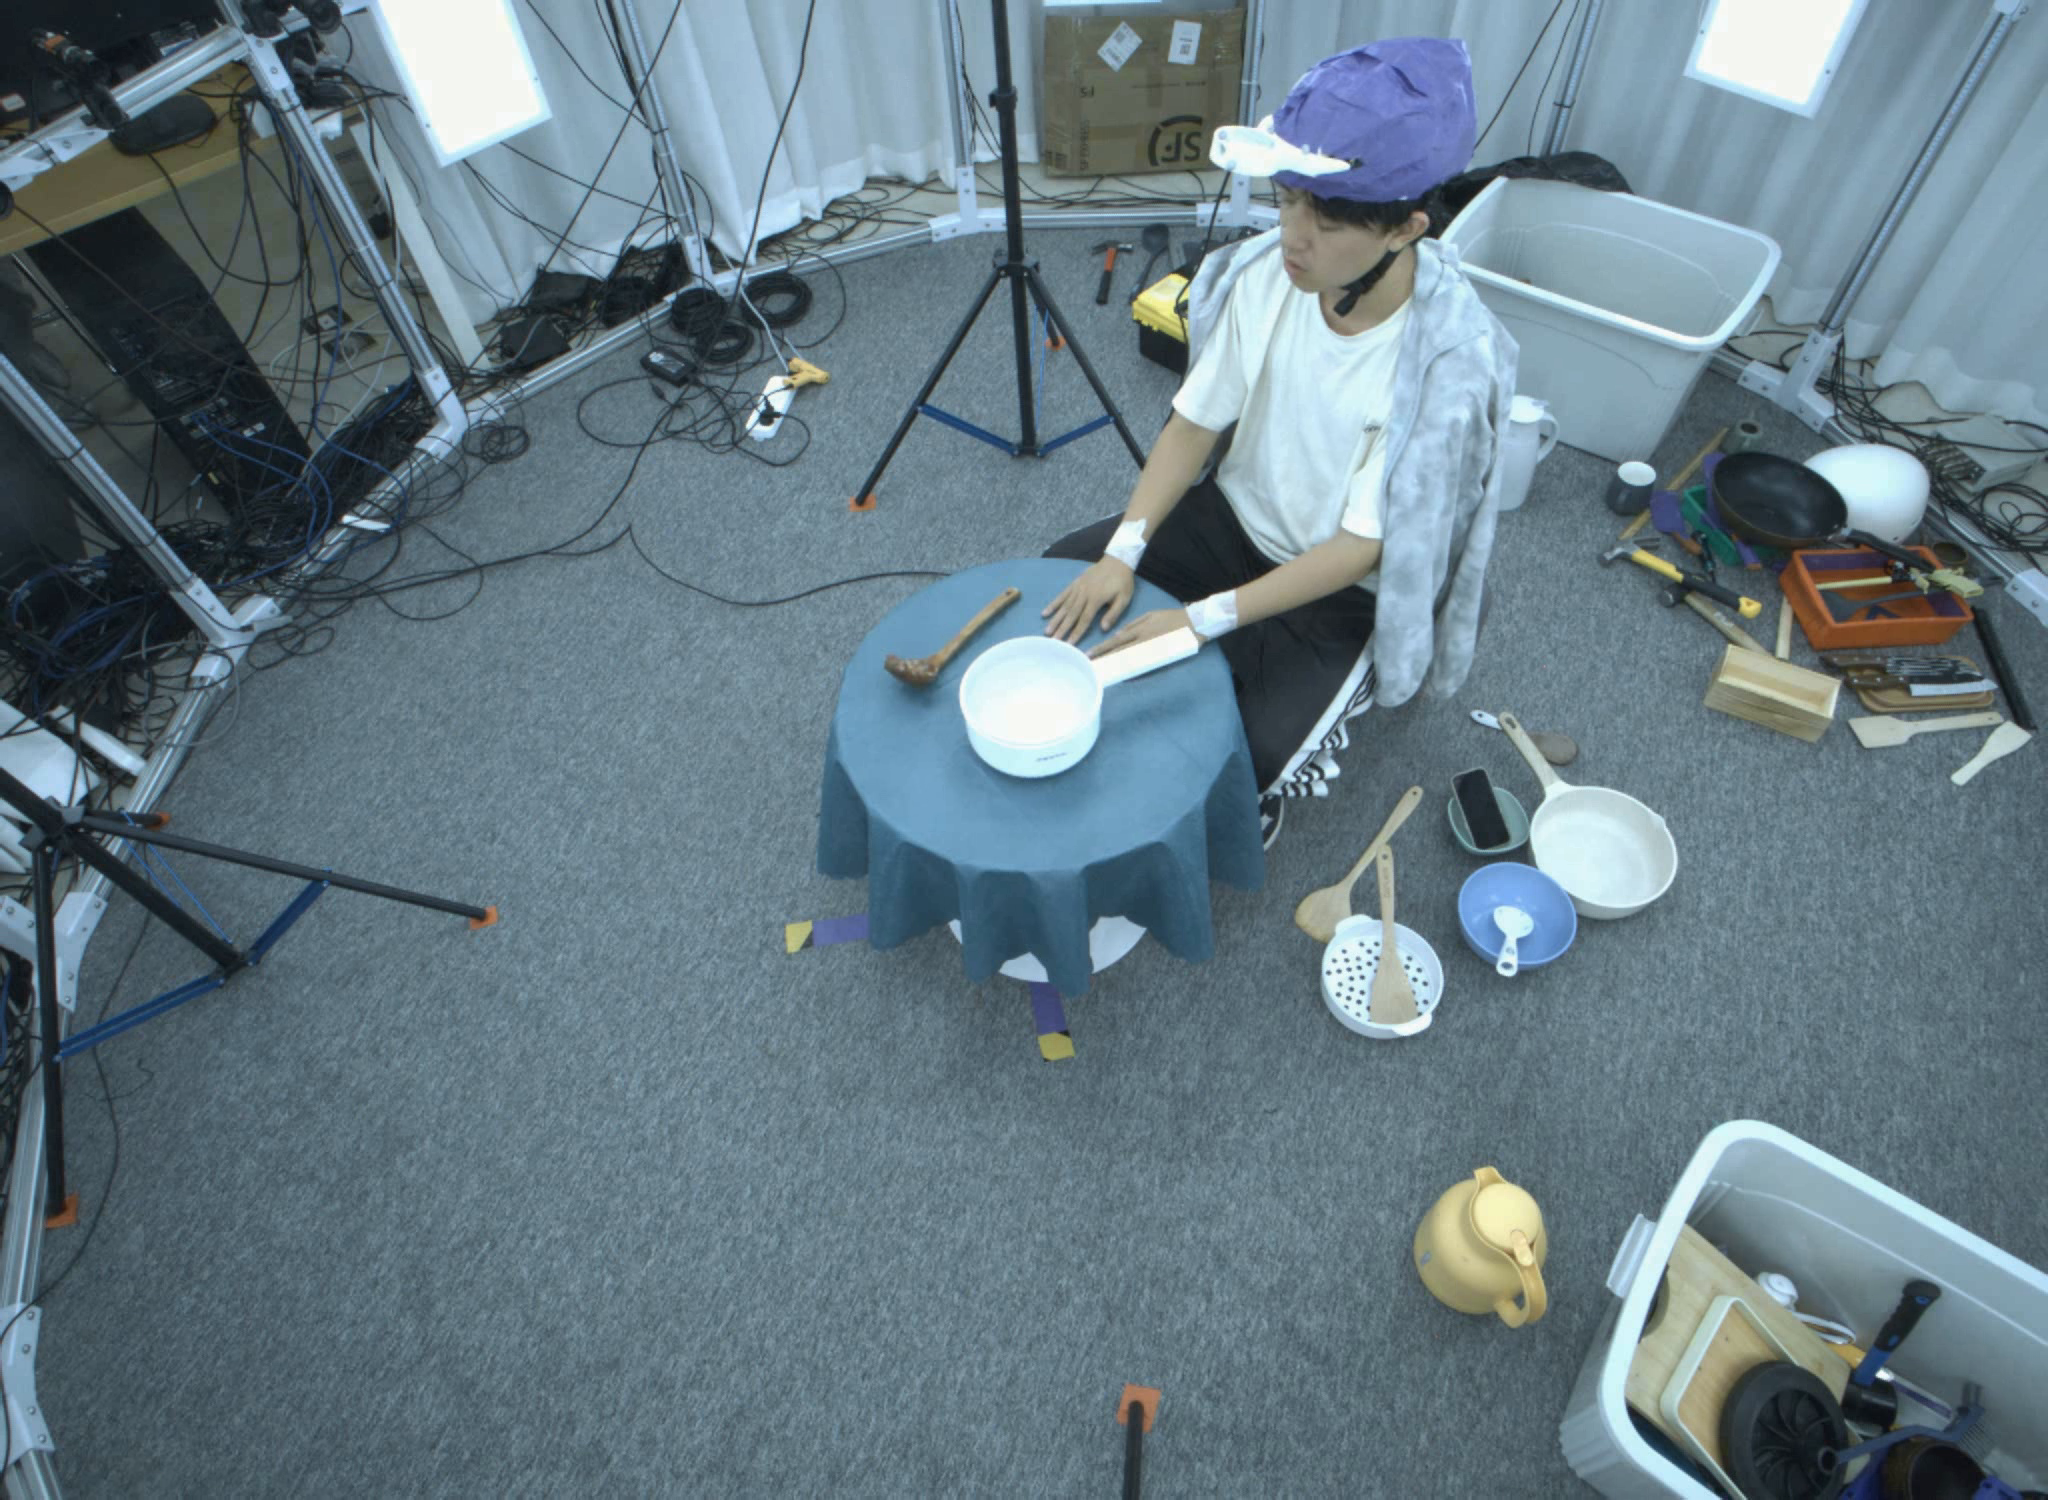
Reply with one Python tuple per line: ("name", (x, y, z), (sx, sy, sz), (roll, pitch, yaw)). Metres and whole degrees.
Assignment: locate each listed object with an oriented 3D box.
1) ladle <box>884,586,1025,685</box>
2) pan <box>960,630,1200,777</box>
("ladle", (-0.103, -0.191, 1.879), (0.080, 0.077, 0.275), (34, 64, 26))
("pan", (0.084, -0.082, 1.784), (0.357, 0.103, 0.197), (-19, 55, -12))
